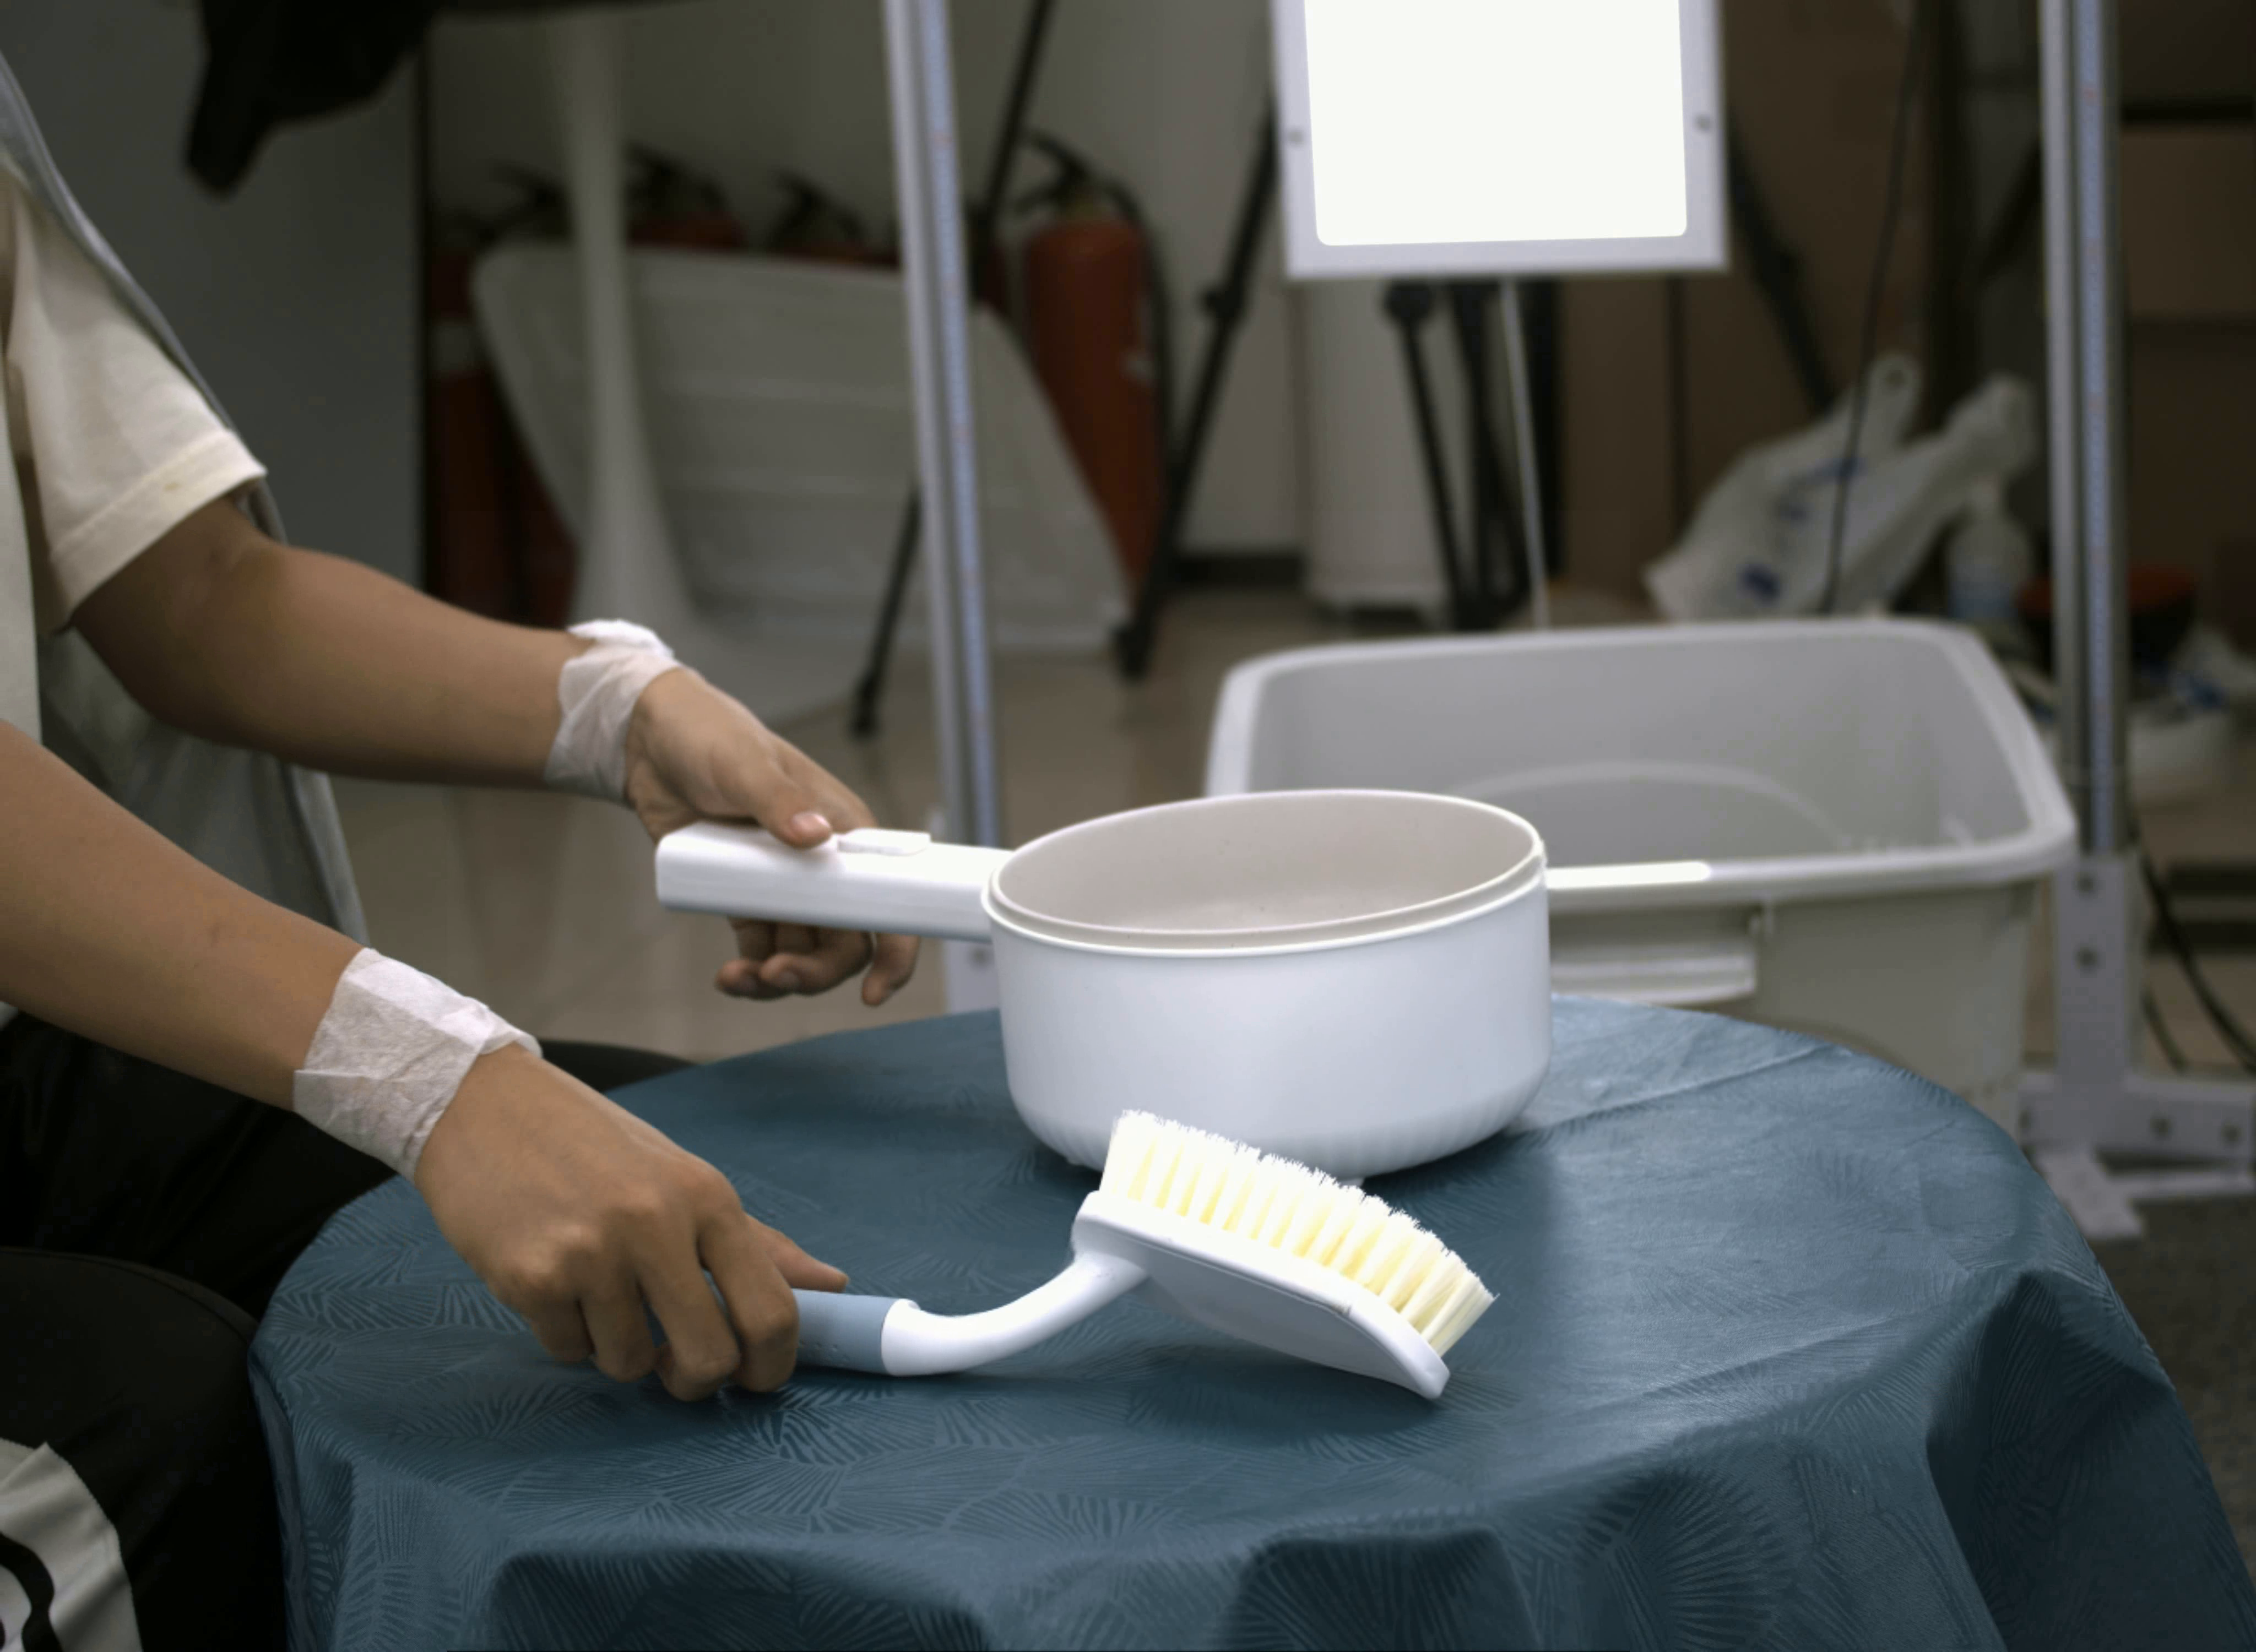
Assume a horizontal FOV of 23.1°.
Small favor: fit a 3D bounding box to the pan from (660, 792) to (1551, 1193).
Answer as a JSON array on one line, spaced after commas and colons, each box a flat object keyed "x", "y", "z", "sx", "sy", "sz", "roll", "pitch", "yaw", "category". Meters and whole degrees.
[{"x": -0.014, "y": 0.056, "z": 1.981, "sx": 0.362, "sy": 0.102, "sz": 0.196, "roll": 3, "pitch": 16, "yaw": 33, "category": "pan"}]

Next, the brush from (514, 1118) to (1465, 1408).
[{"x": -0.046, "y": 0.127, "z": 1.736, "sx": 0.331, "sy": 0.083, "sz": 0.083, "roll": 3, "pitch": 22, "yaw": 27, "category": "brush"}]
